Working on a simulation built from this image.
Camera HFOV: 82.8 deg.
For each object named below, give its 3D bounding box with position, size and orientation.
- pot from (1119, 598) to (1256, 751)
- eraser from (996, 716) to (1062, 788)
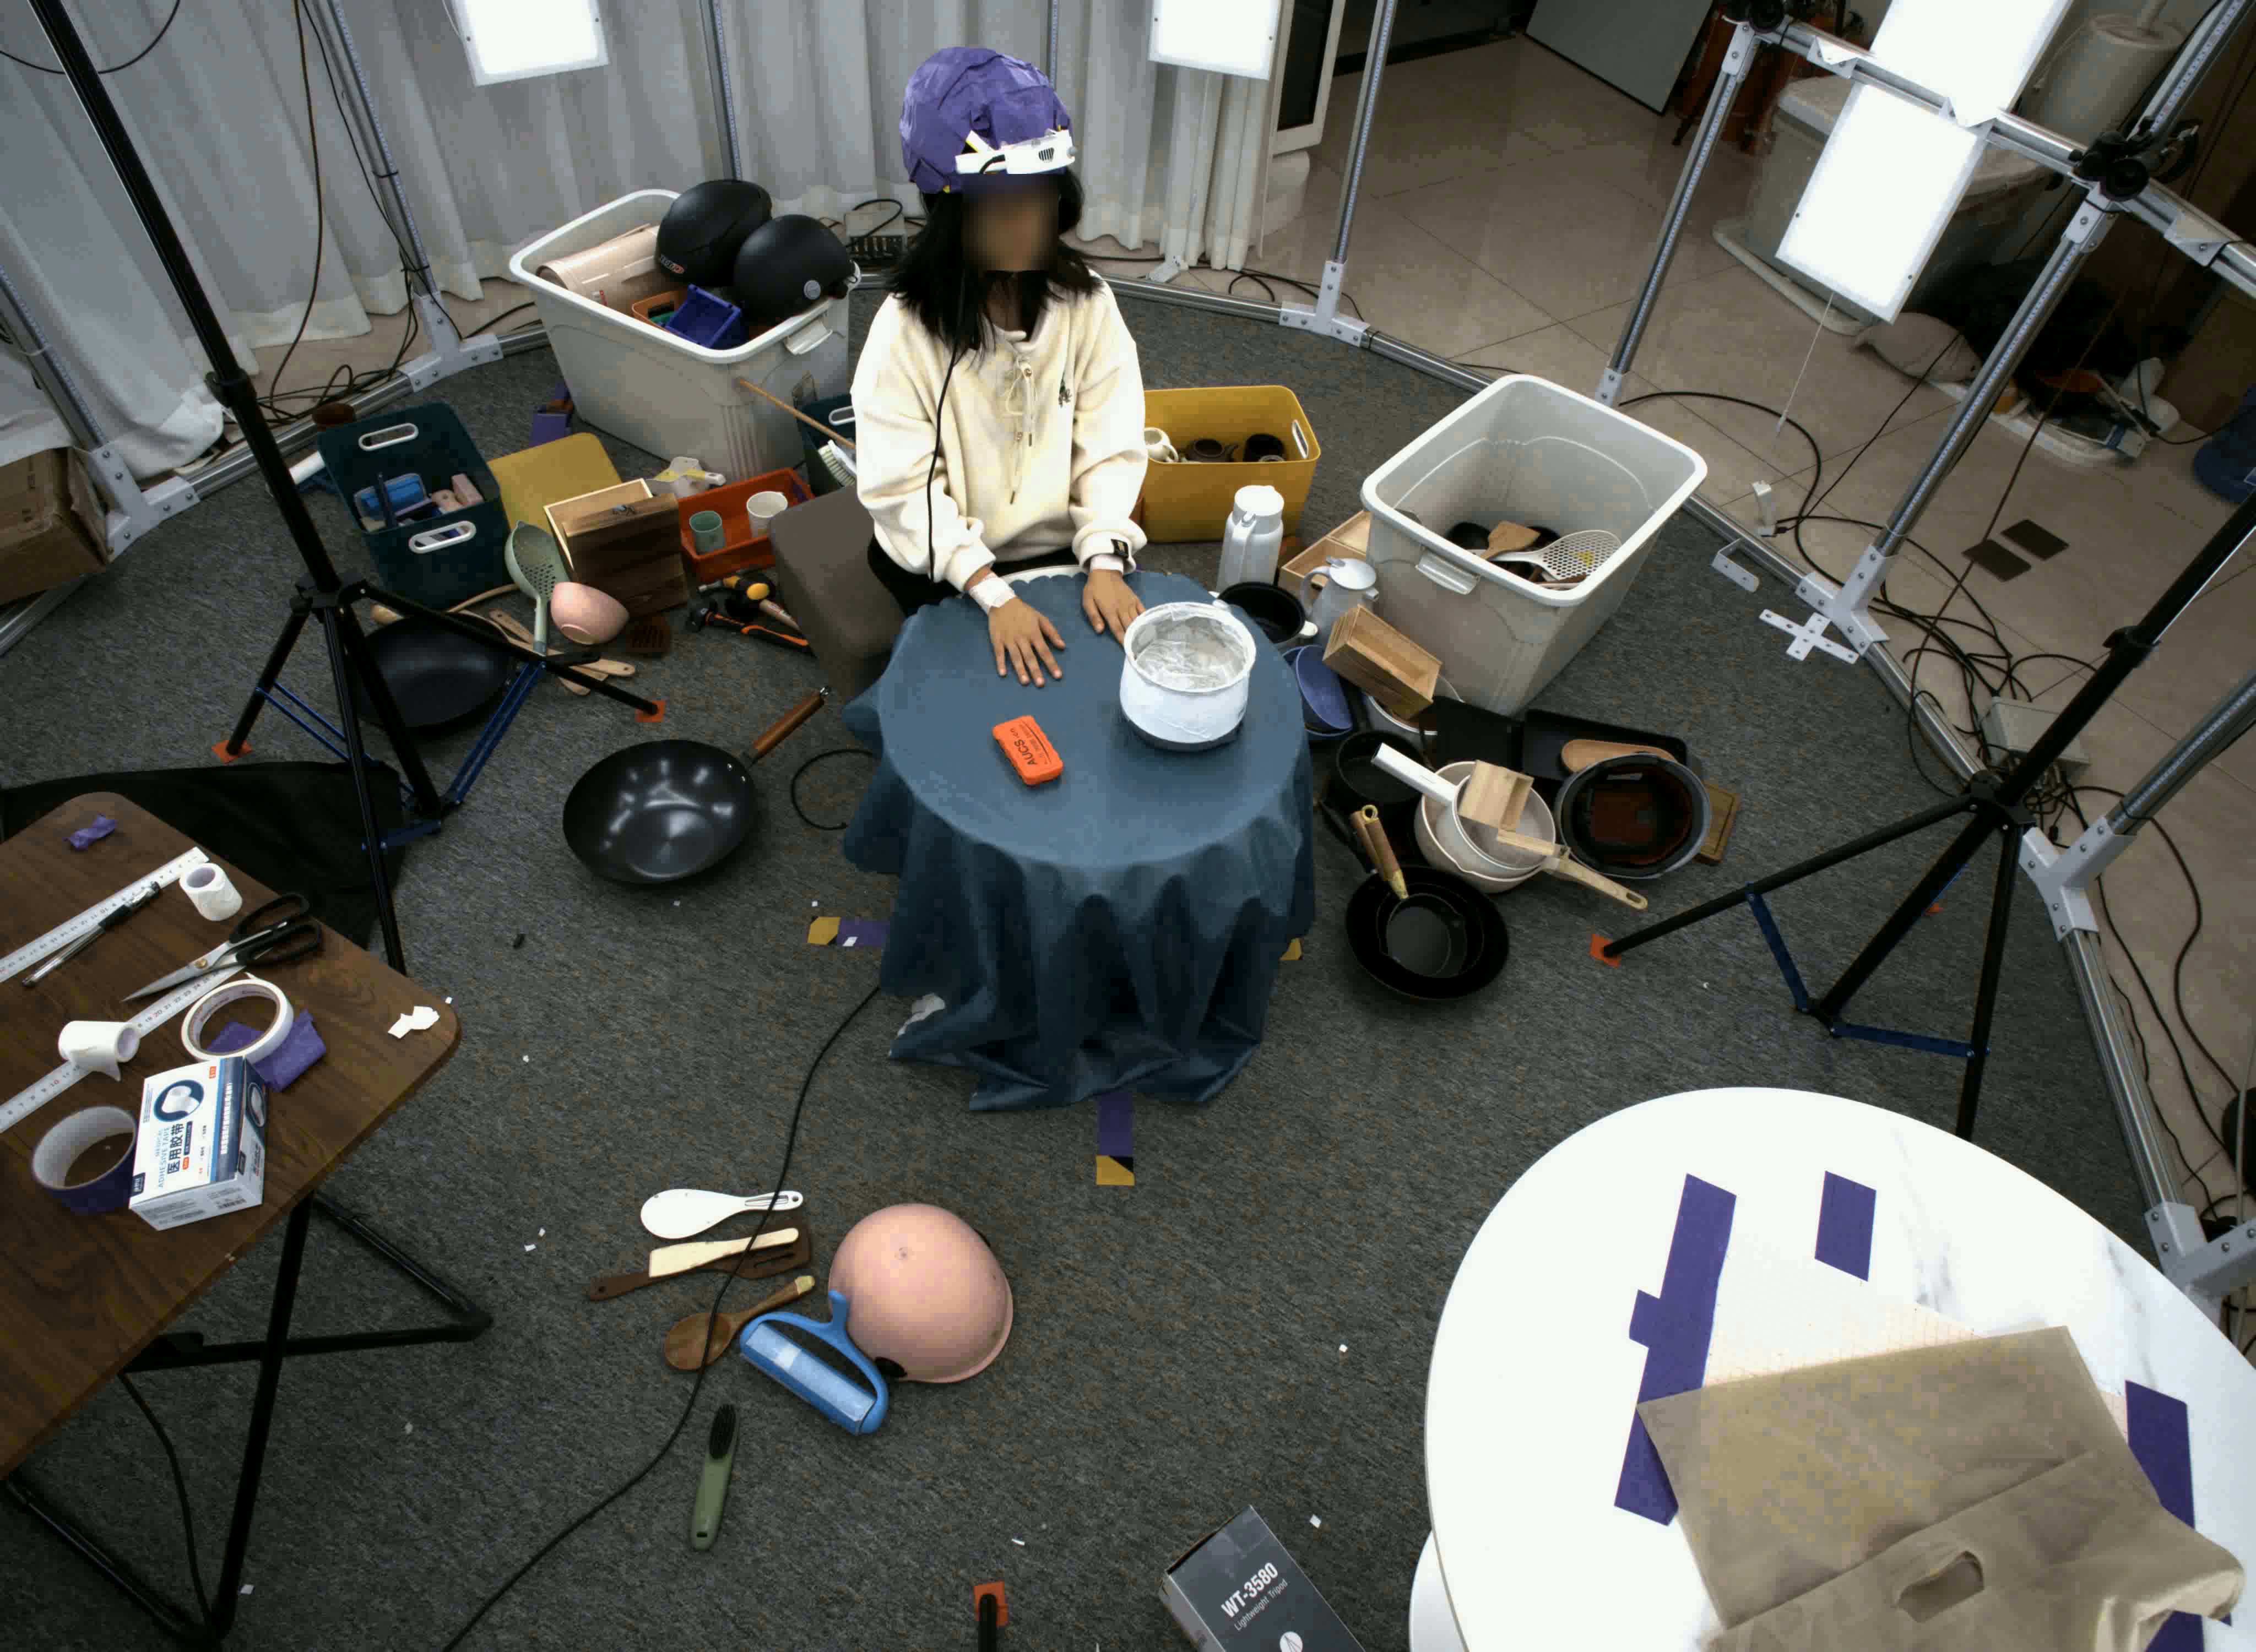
[{"bbox_3d":[0.090,-0.221,1.776,0.179,0.133,0.238,22,53,12],"label":"pot"},{"bbox_3d":[-0.134,-0.101,1.733,0.059,0.022,0.110,-17,53,-21],"label":"eraser"}]
